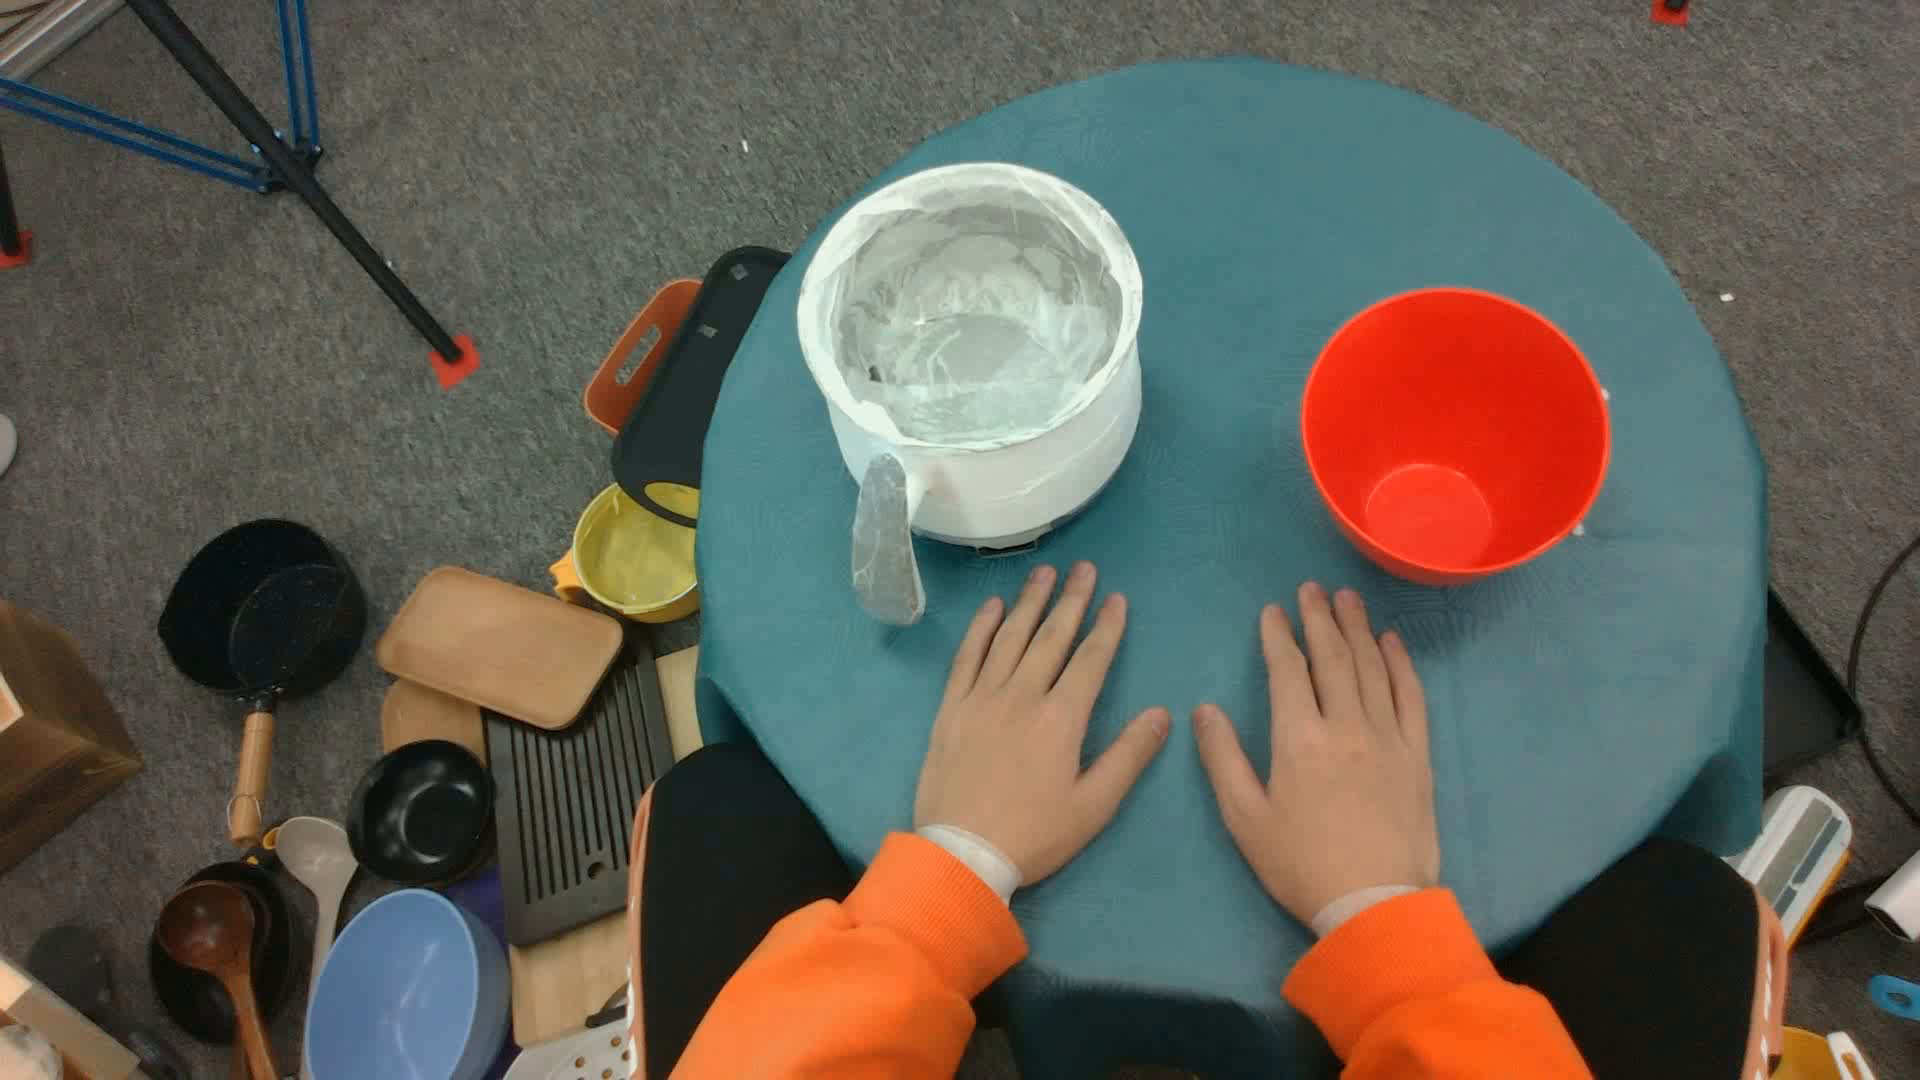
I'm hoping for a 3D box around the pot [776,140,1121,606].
[{"bbox_3d":[-0.010,-0.083,0.746,0.178,0.136,0.234,17,68,14],"label":"pot"}]

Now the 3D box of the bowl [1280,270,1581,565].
[{"bbox_3d":[0.240,-0.052,0.728,0.148,0.104,0.148,-2,67,6],"label":"bowl"}]
